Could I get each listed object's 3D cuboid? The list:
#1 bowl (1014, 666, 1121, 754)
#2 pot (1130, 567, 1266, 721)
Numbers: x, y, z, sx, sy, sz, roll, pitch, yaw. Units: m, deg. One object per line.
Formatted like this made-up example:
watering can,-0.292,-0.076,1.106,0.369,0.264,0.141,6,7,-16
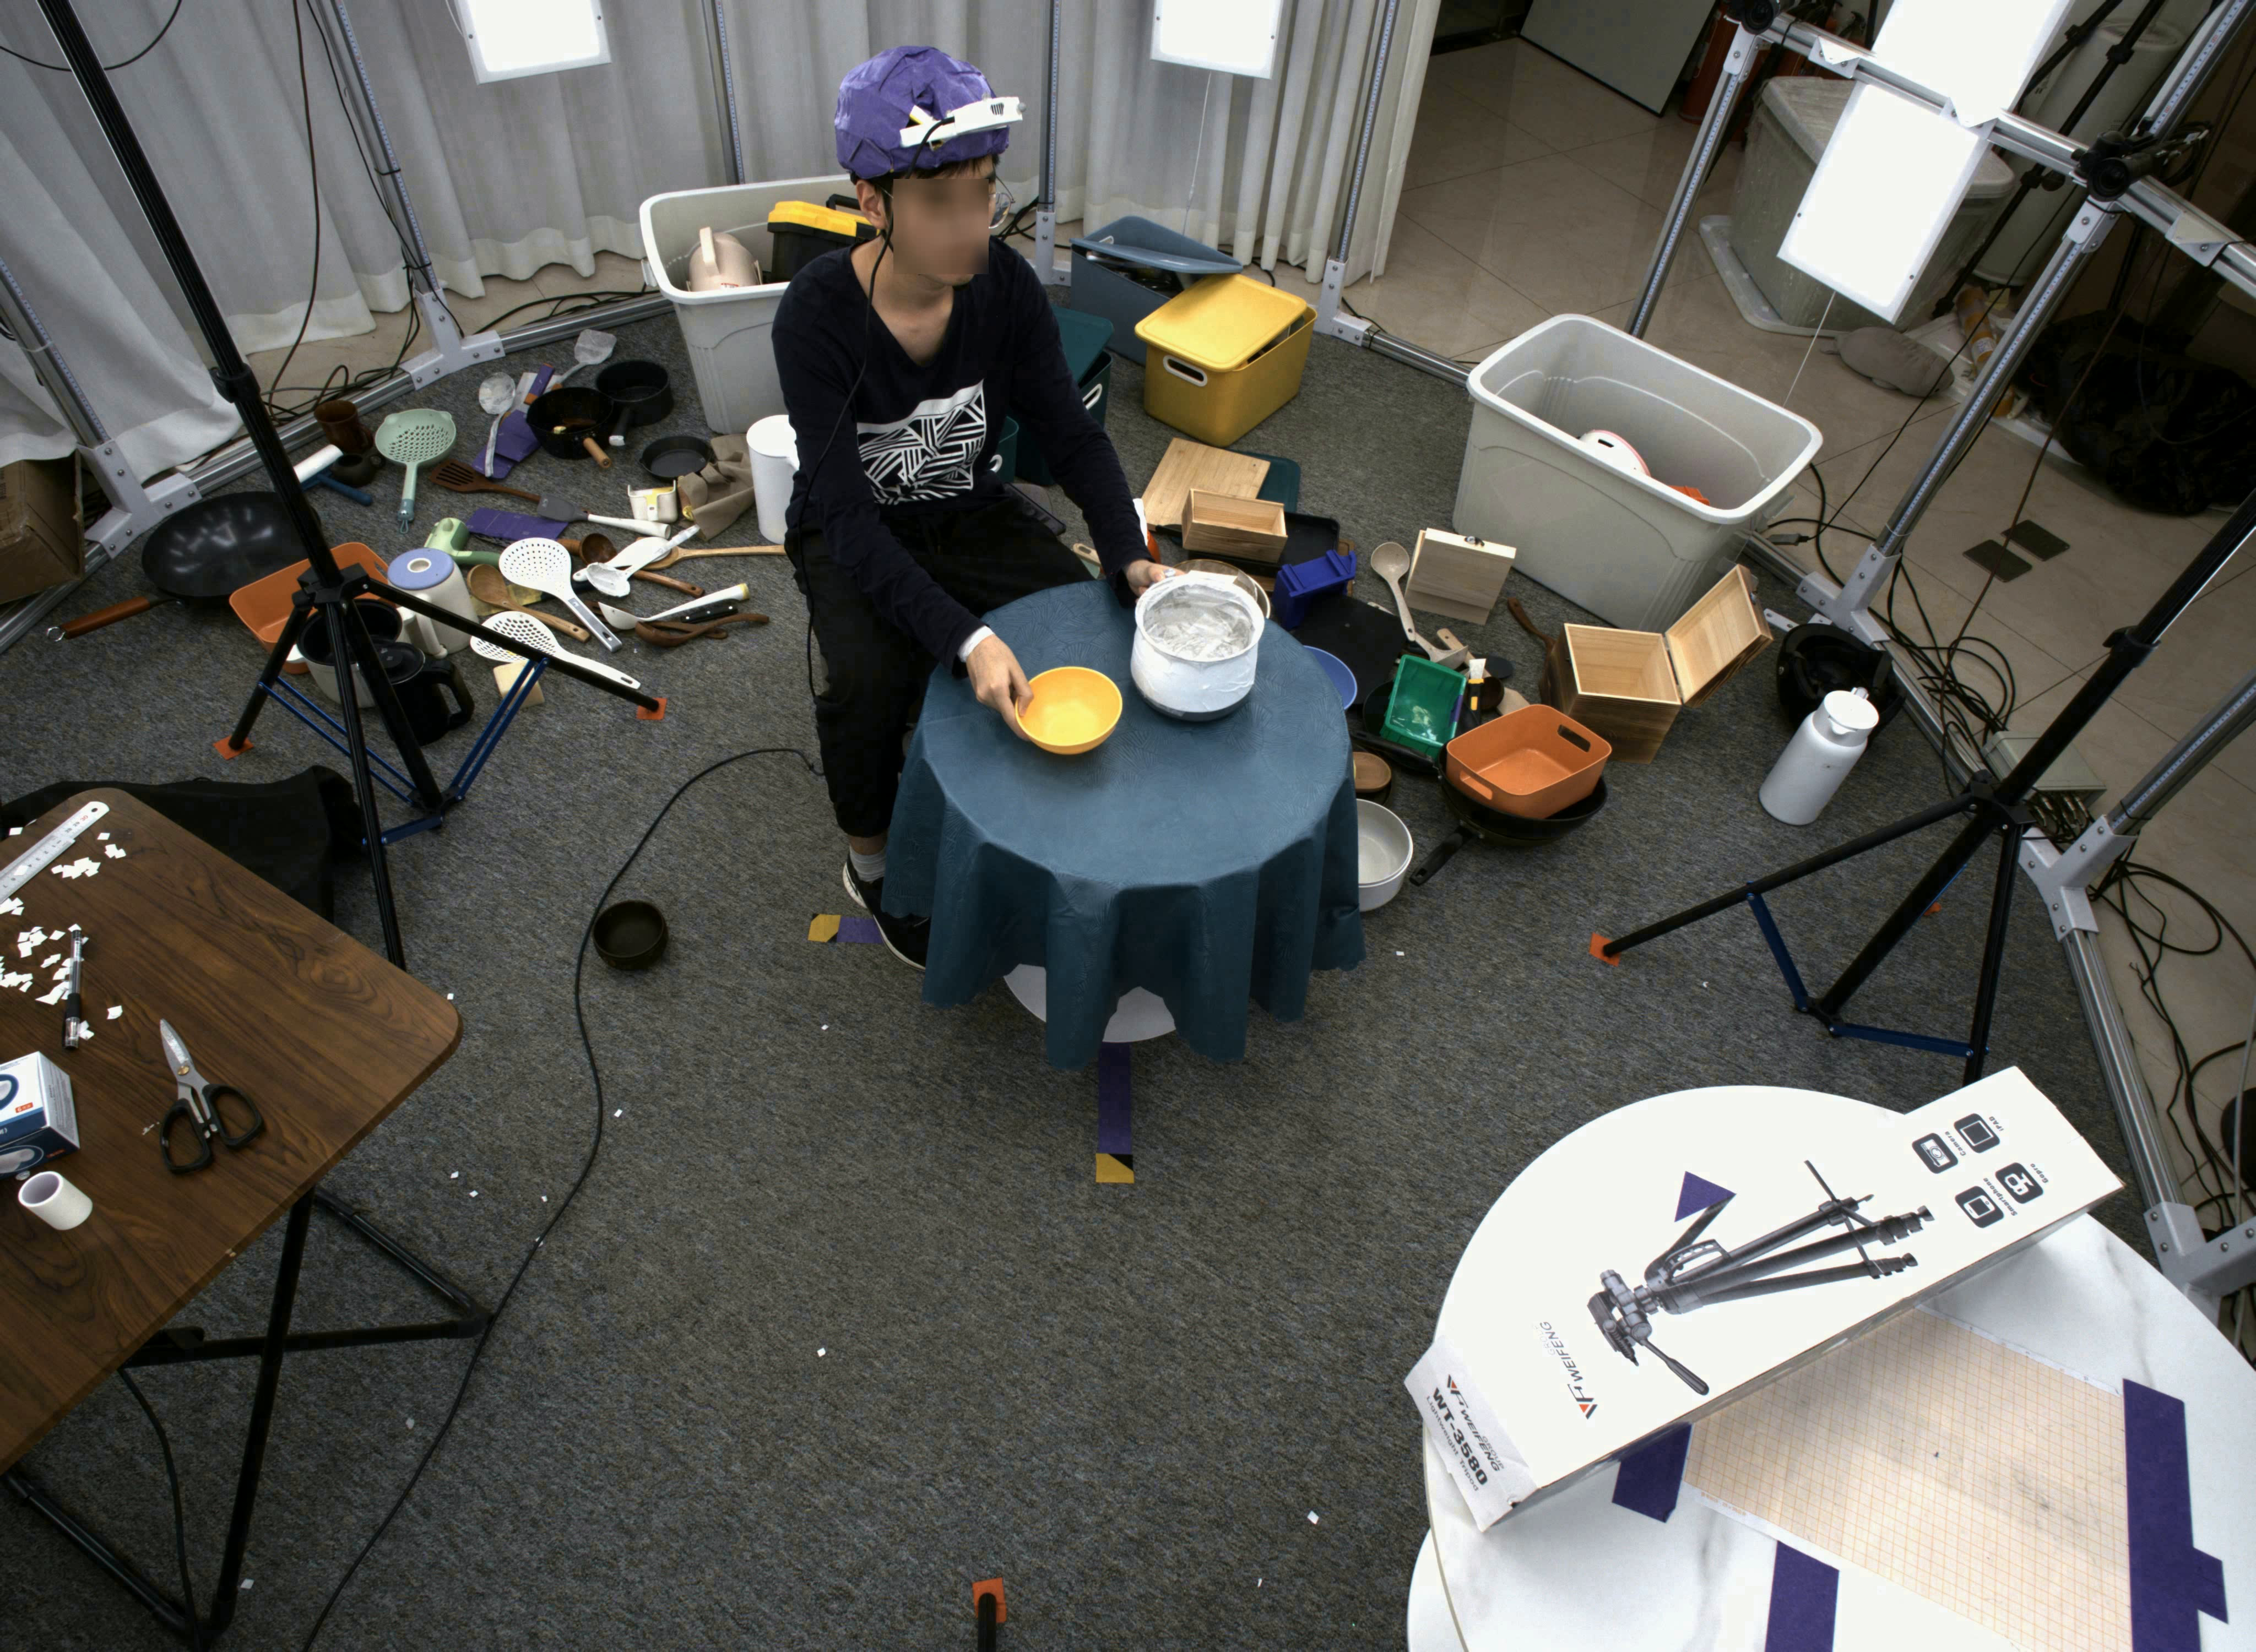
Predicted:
bowl,-0.081,-0.146,1.744,0.145,0.058,0.149,-1,52,1
pot,0.083,-0.266,1.814,0.179,0.133,0.239,-15,53,-20
